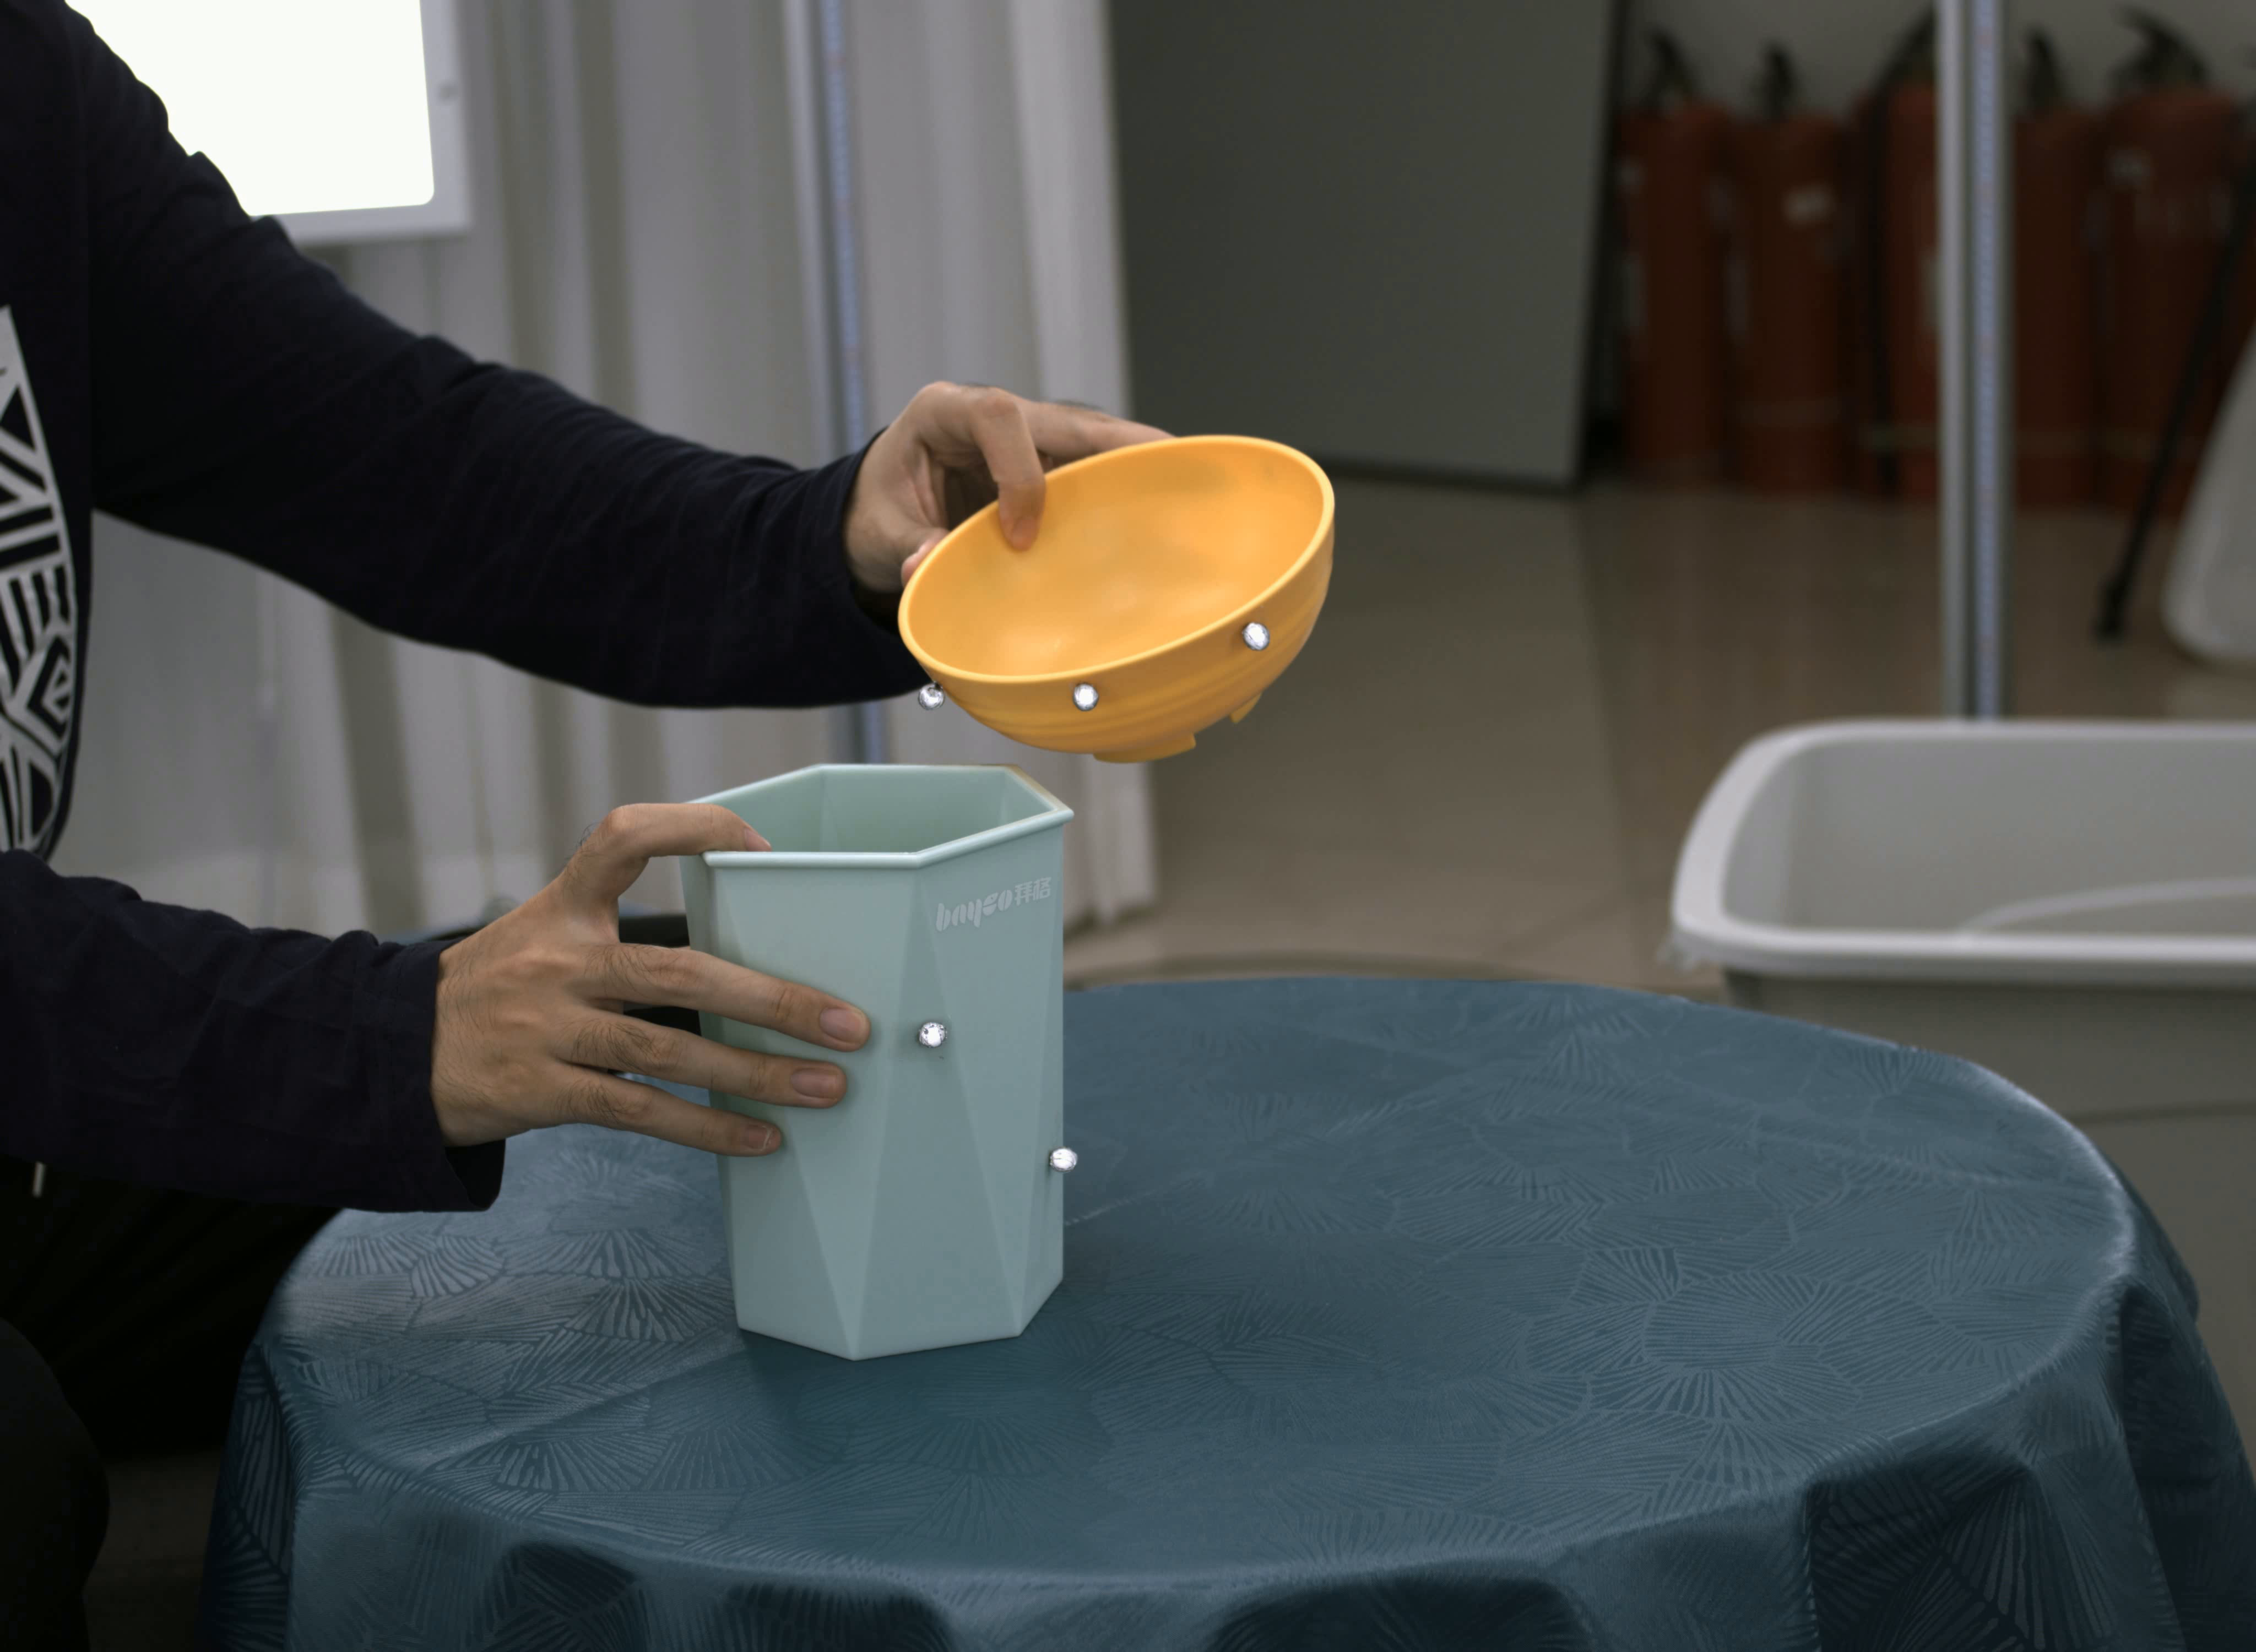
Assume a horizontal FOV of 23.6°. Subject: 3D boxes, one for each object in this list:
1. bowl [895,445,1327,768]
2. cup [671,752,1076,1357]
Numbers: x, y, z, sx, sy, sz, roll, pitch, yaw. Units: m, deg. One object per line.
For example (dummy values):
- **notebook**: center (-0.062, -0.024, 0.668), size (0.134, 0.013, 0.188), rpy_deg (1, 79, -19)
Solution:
- **bowl**: center (0.002, -0.060, 1.713), size (0.144, 0.060, 0.146), rpy_deg (-17, 26, 8)
- **cup**: center (-0.073, 0.069, 1.659), size (0.116, 0.165, 0.128), rpy_deg (9, 18, 44)
